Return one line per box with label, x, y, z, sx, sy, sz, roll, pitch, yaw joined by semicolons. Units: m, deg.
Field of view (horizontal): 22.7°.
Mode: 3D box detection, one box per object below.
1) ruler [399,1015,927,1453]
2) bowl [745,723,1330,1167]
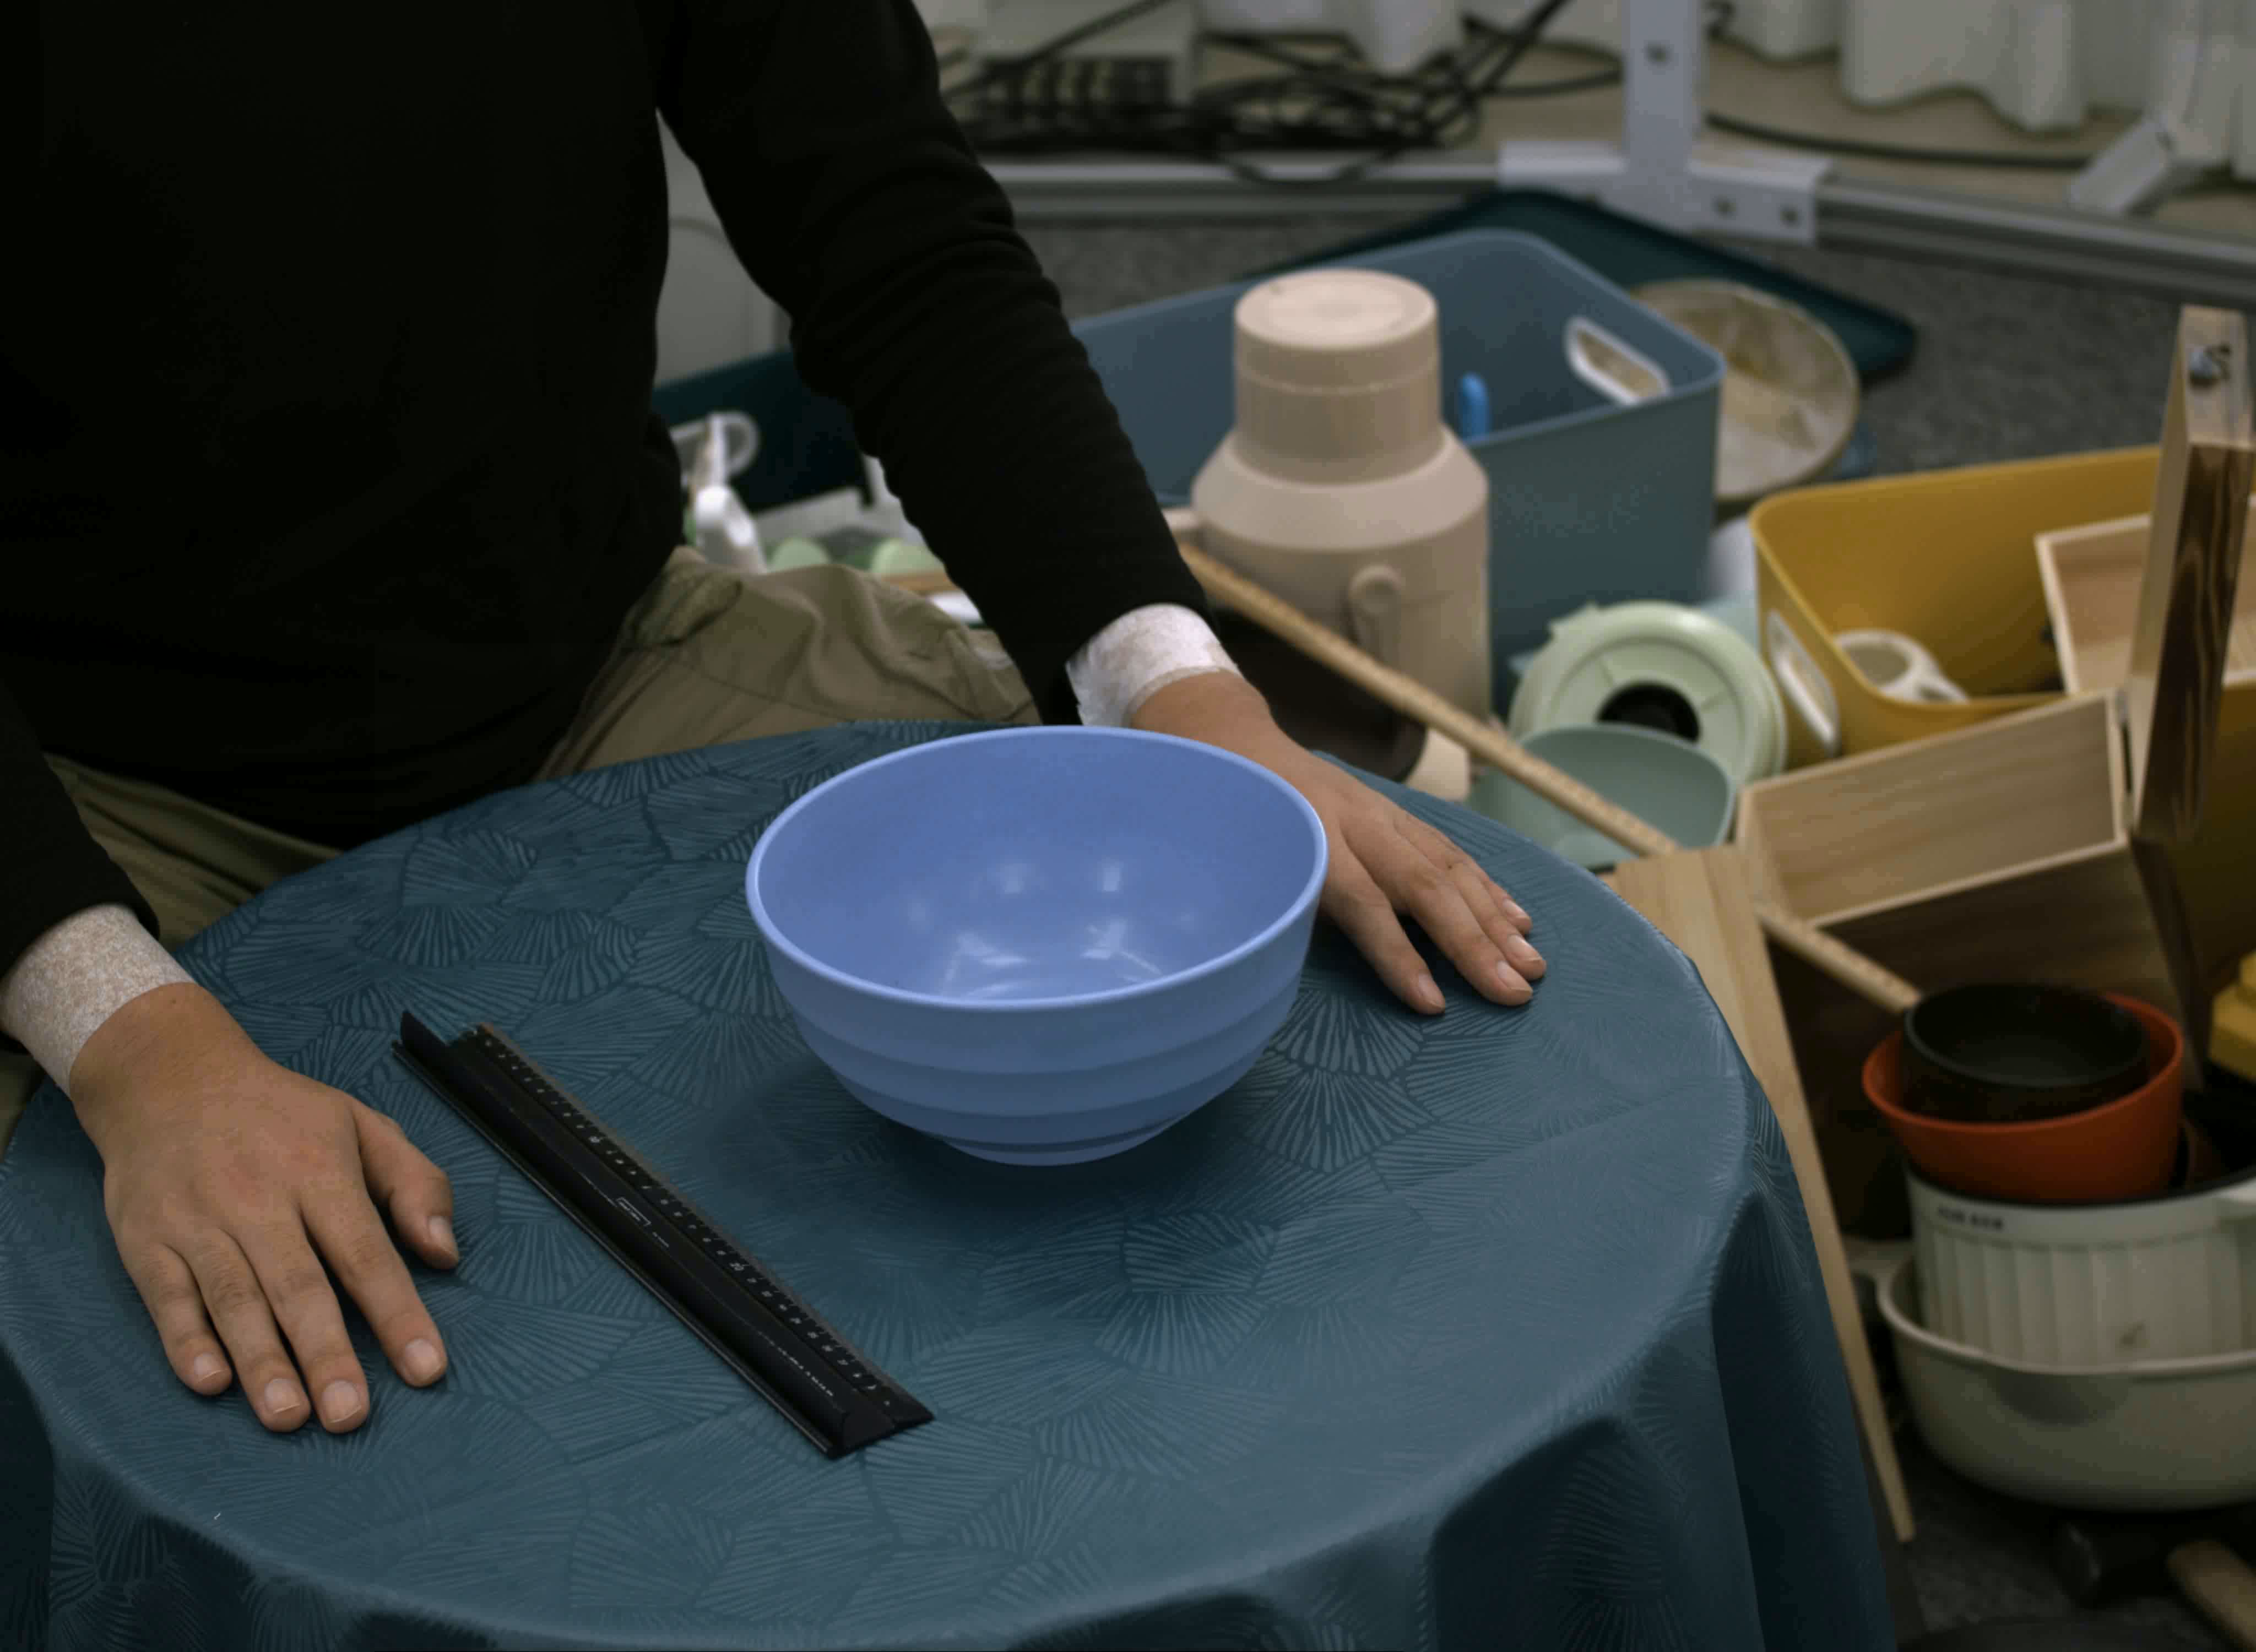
ruler;-0.158;0.126;1.851;0.039;0.017;0.313;-14;29;-29
bowl;-0.028;0.051;1.897;0.195;0.094;0.199;-2;28;1
